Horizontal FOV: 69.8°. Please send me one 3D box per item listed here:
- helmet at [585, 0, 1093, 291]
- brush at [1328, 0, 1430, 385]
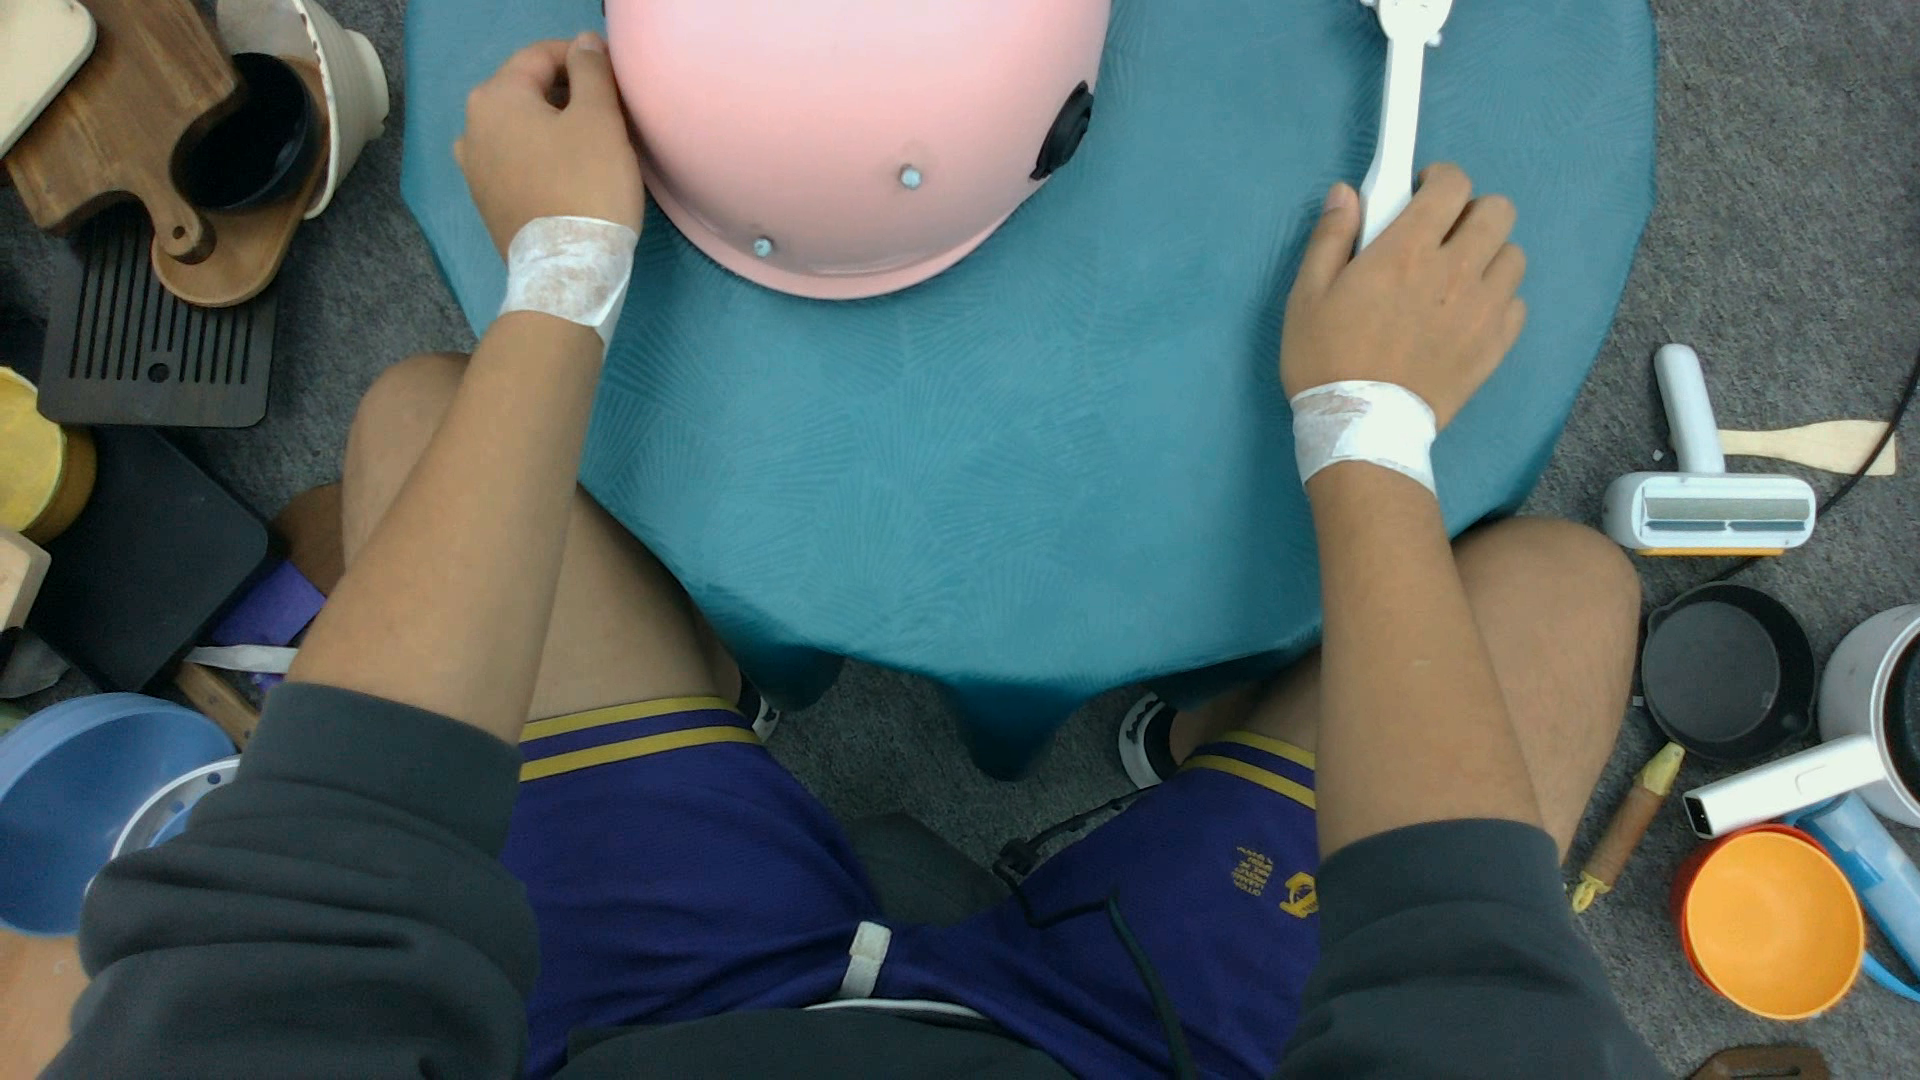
[{"bbox_3d":[-0.051,-0.247,0.581,0.234,0.159,0.266,19,90,-3],"label":"helmet"},{"bbox_3d":[0.197,-0.197,0.658,0.034,0.050,0.243,5,100,-6],"label":"brush"}]
